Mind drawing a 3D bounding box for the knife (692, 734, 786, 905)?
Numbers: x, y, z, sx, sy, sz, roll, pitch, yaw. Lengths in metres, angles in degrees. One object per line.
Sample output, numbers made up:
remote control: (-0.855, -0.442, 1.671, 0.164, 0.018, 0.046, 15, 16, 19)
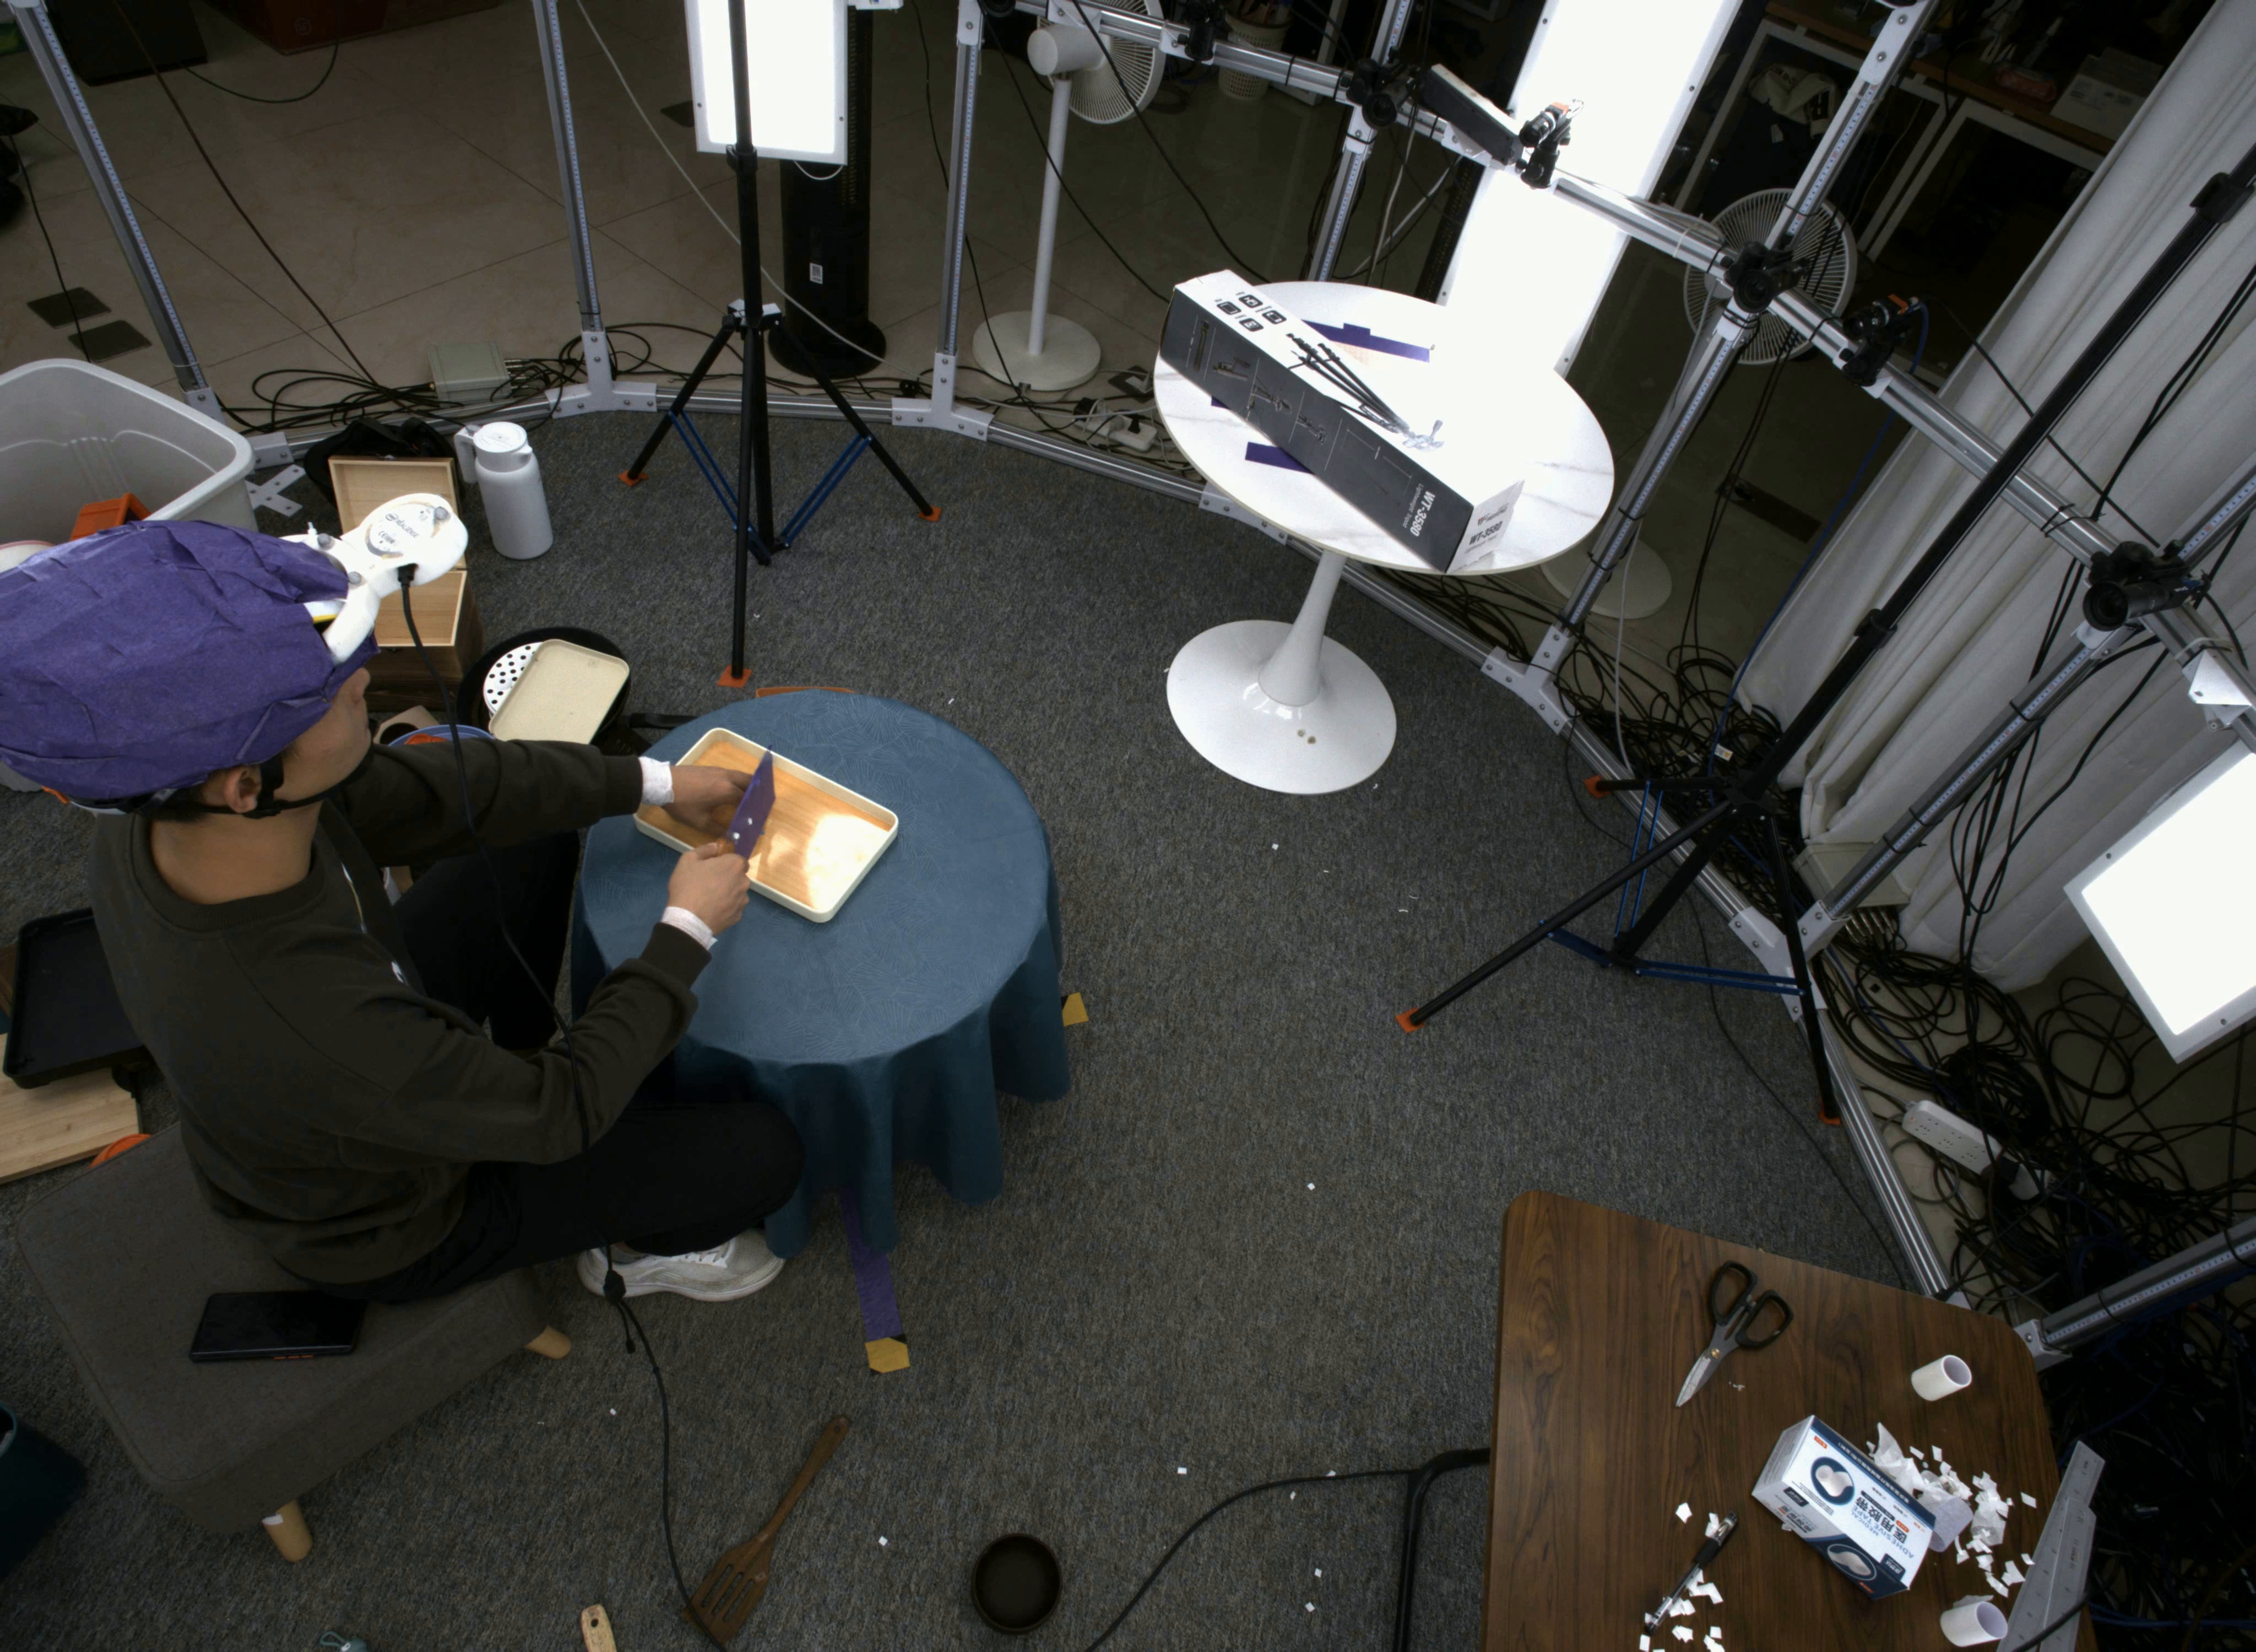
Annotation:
knife: (-0.468, 0.011, 1.591, 0.032, 0.107, 0.309, 5, 36, 2)

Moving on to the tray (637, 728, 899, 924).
tray: (-0.474, -0.005, 1.709, 0.296, 0.028, 0.190, 26, 52, 6)
